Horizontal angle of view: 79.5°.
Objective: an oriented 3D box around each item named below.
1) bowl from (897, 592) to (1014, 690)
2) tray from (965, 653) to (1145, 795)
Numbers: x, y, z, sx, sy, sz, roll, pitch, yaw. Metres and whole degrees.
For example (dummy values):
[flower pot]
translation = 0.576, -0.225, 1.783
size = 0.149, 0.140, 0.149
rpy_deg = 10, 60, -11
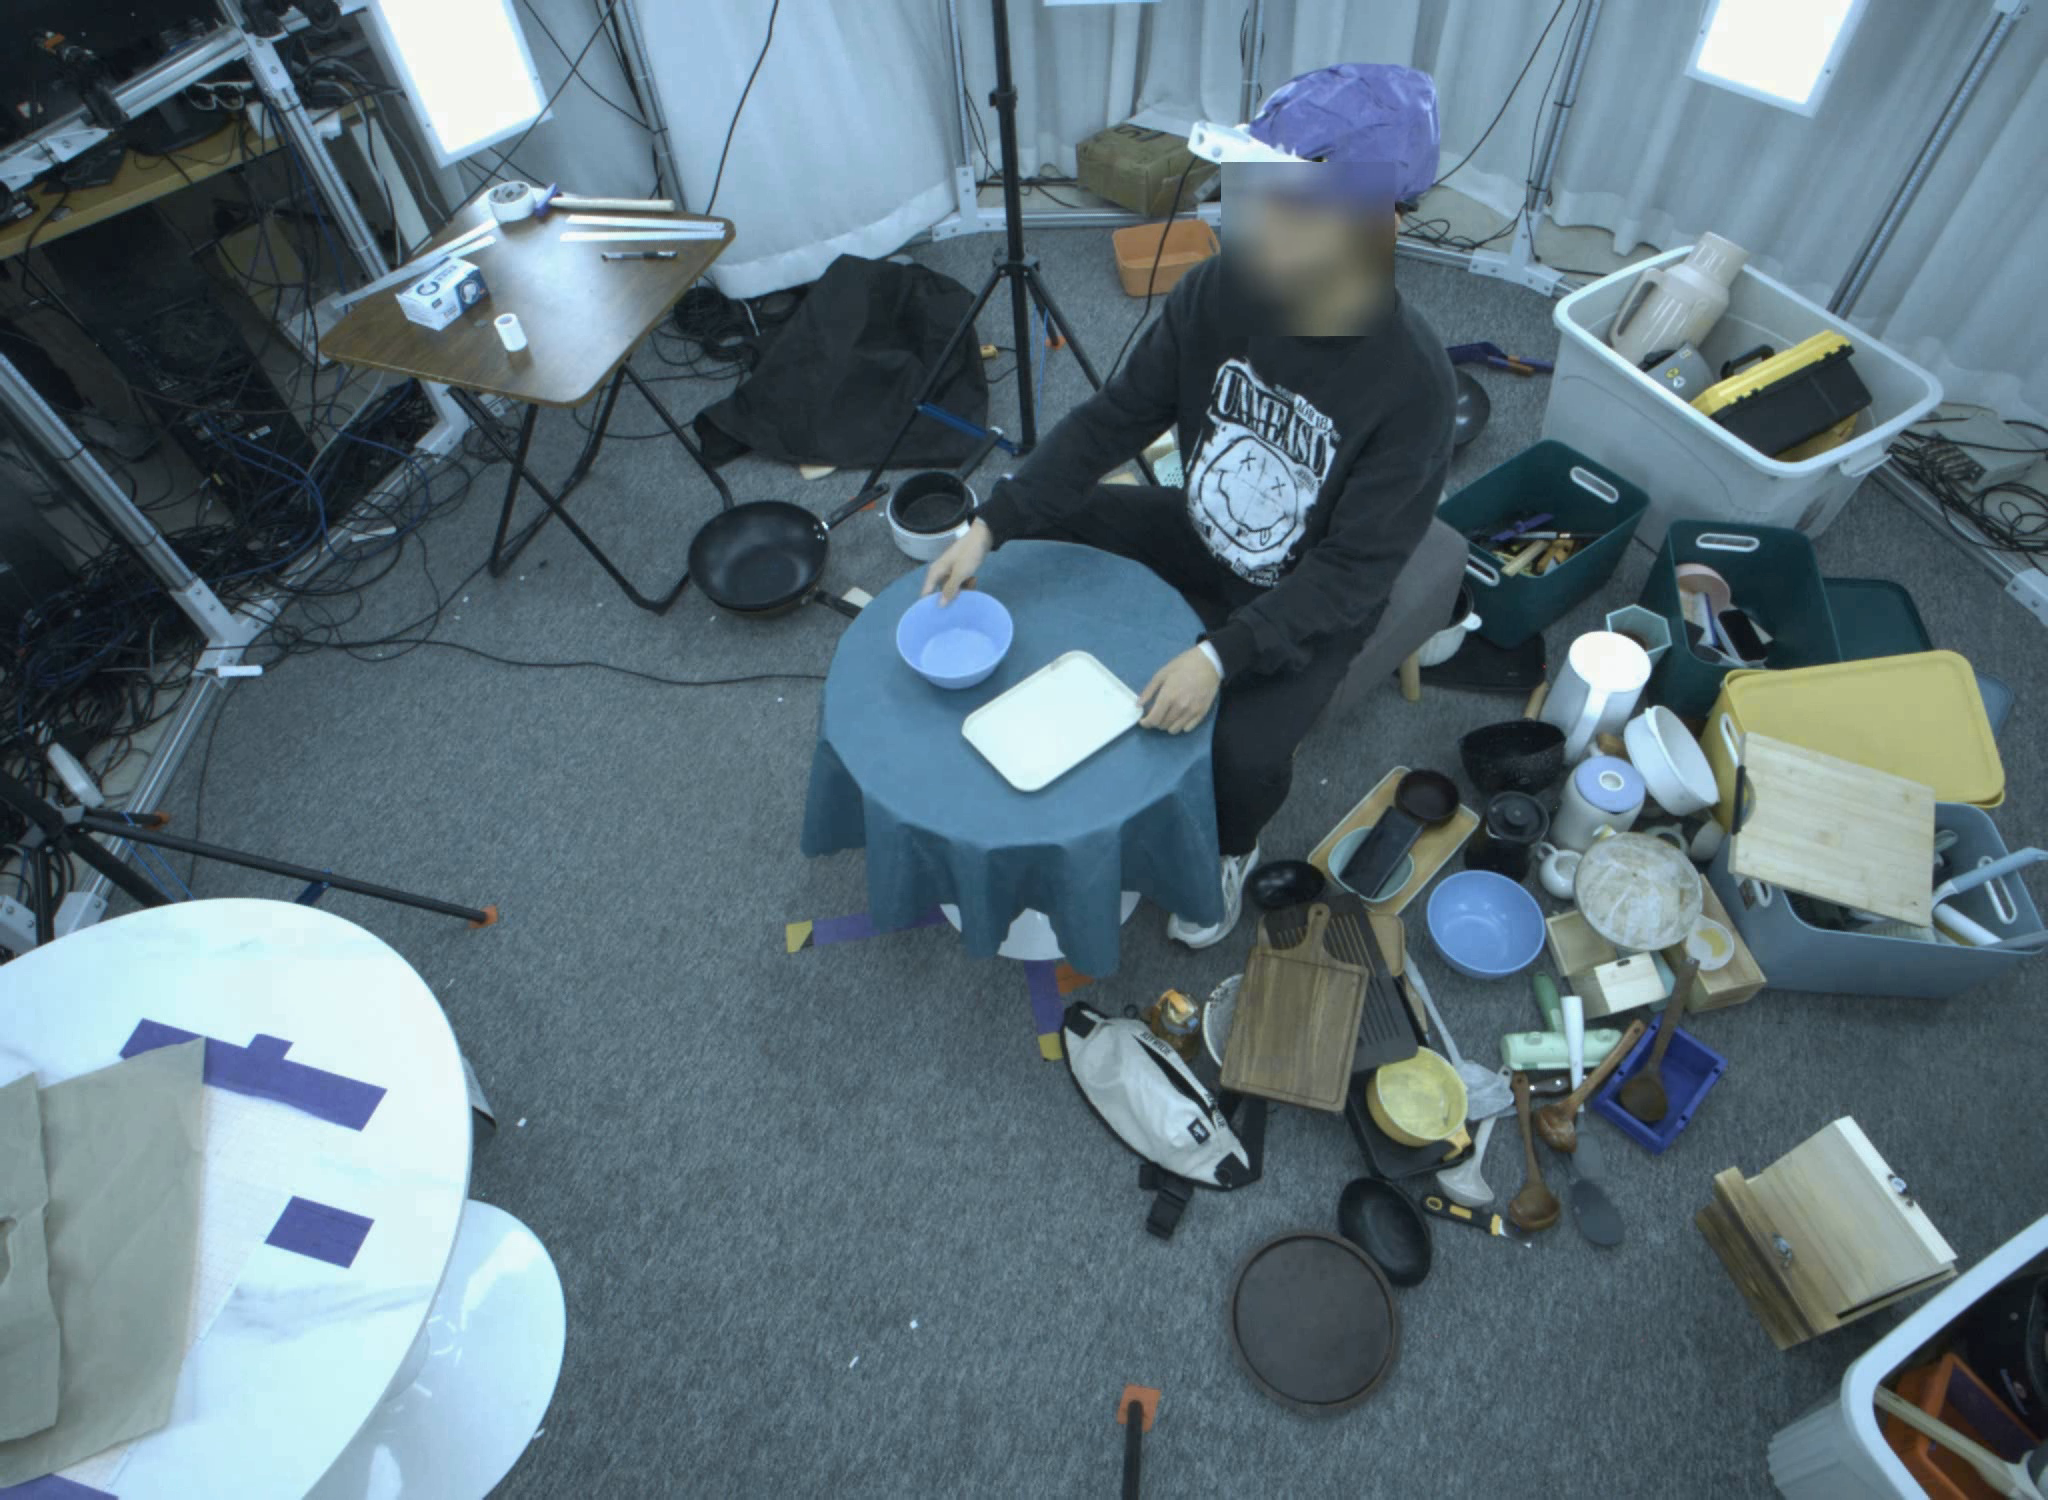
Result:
[bowl]
translation = -0.102, -0.156, 1.867
size = 0.176, 0.071, 0.174
rpy_deg = 0, 55, 1
[tray]
translation = 0.046, -0.039, 1.813
size = 0.241, 0.017, 0.168
rpy_deg = -34, 61, -20
